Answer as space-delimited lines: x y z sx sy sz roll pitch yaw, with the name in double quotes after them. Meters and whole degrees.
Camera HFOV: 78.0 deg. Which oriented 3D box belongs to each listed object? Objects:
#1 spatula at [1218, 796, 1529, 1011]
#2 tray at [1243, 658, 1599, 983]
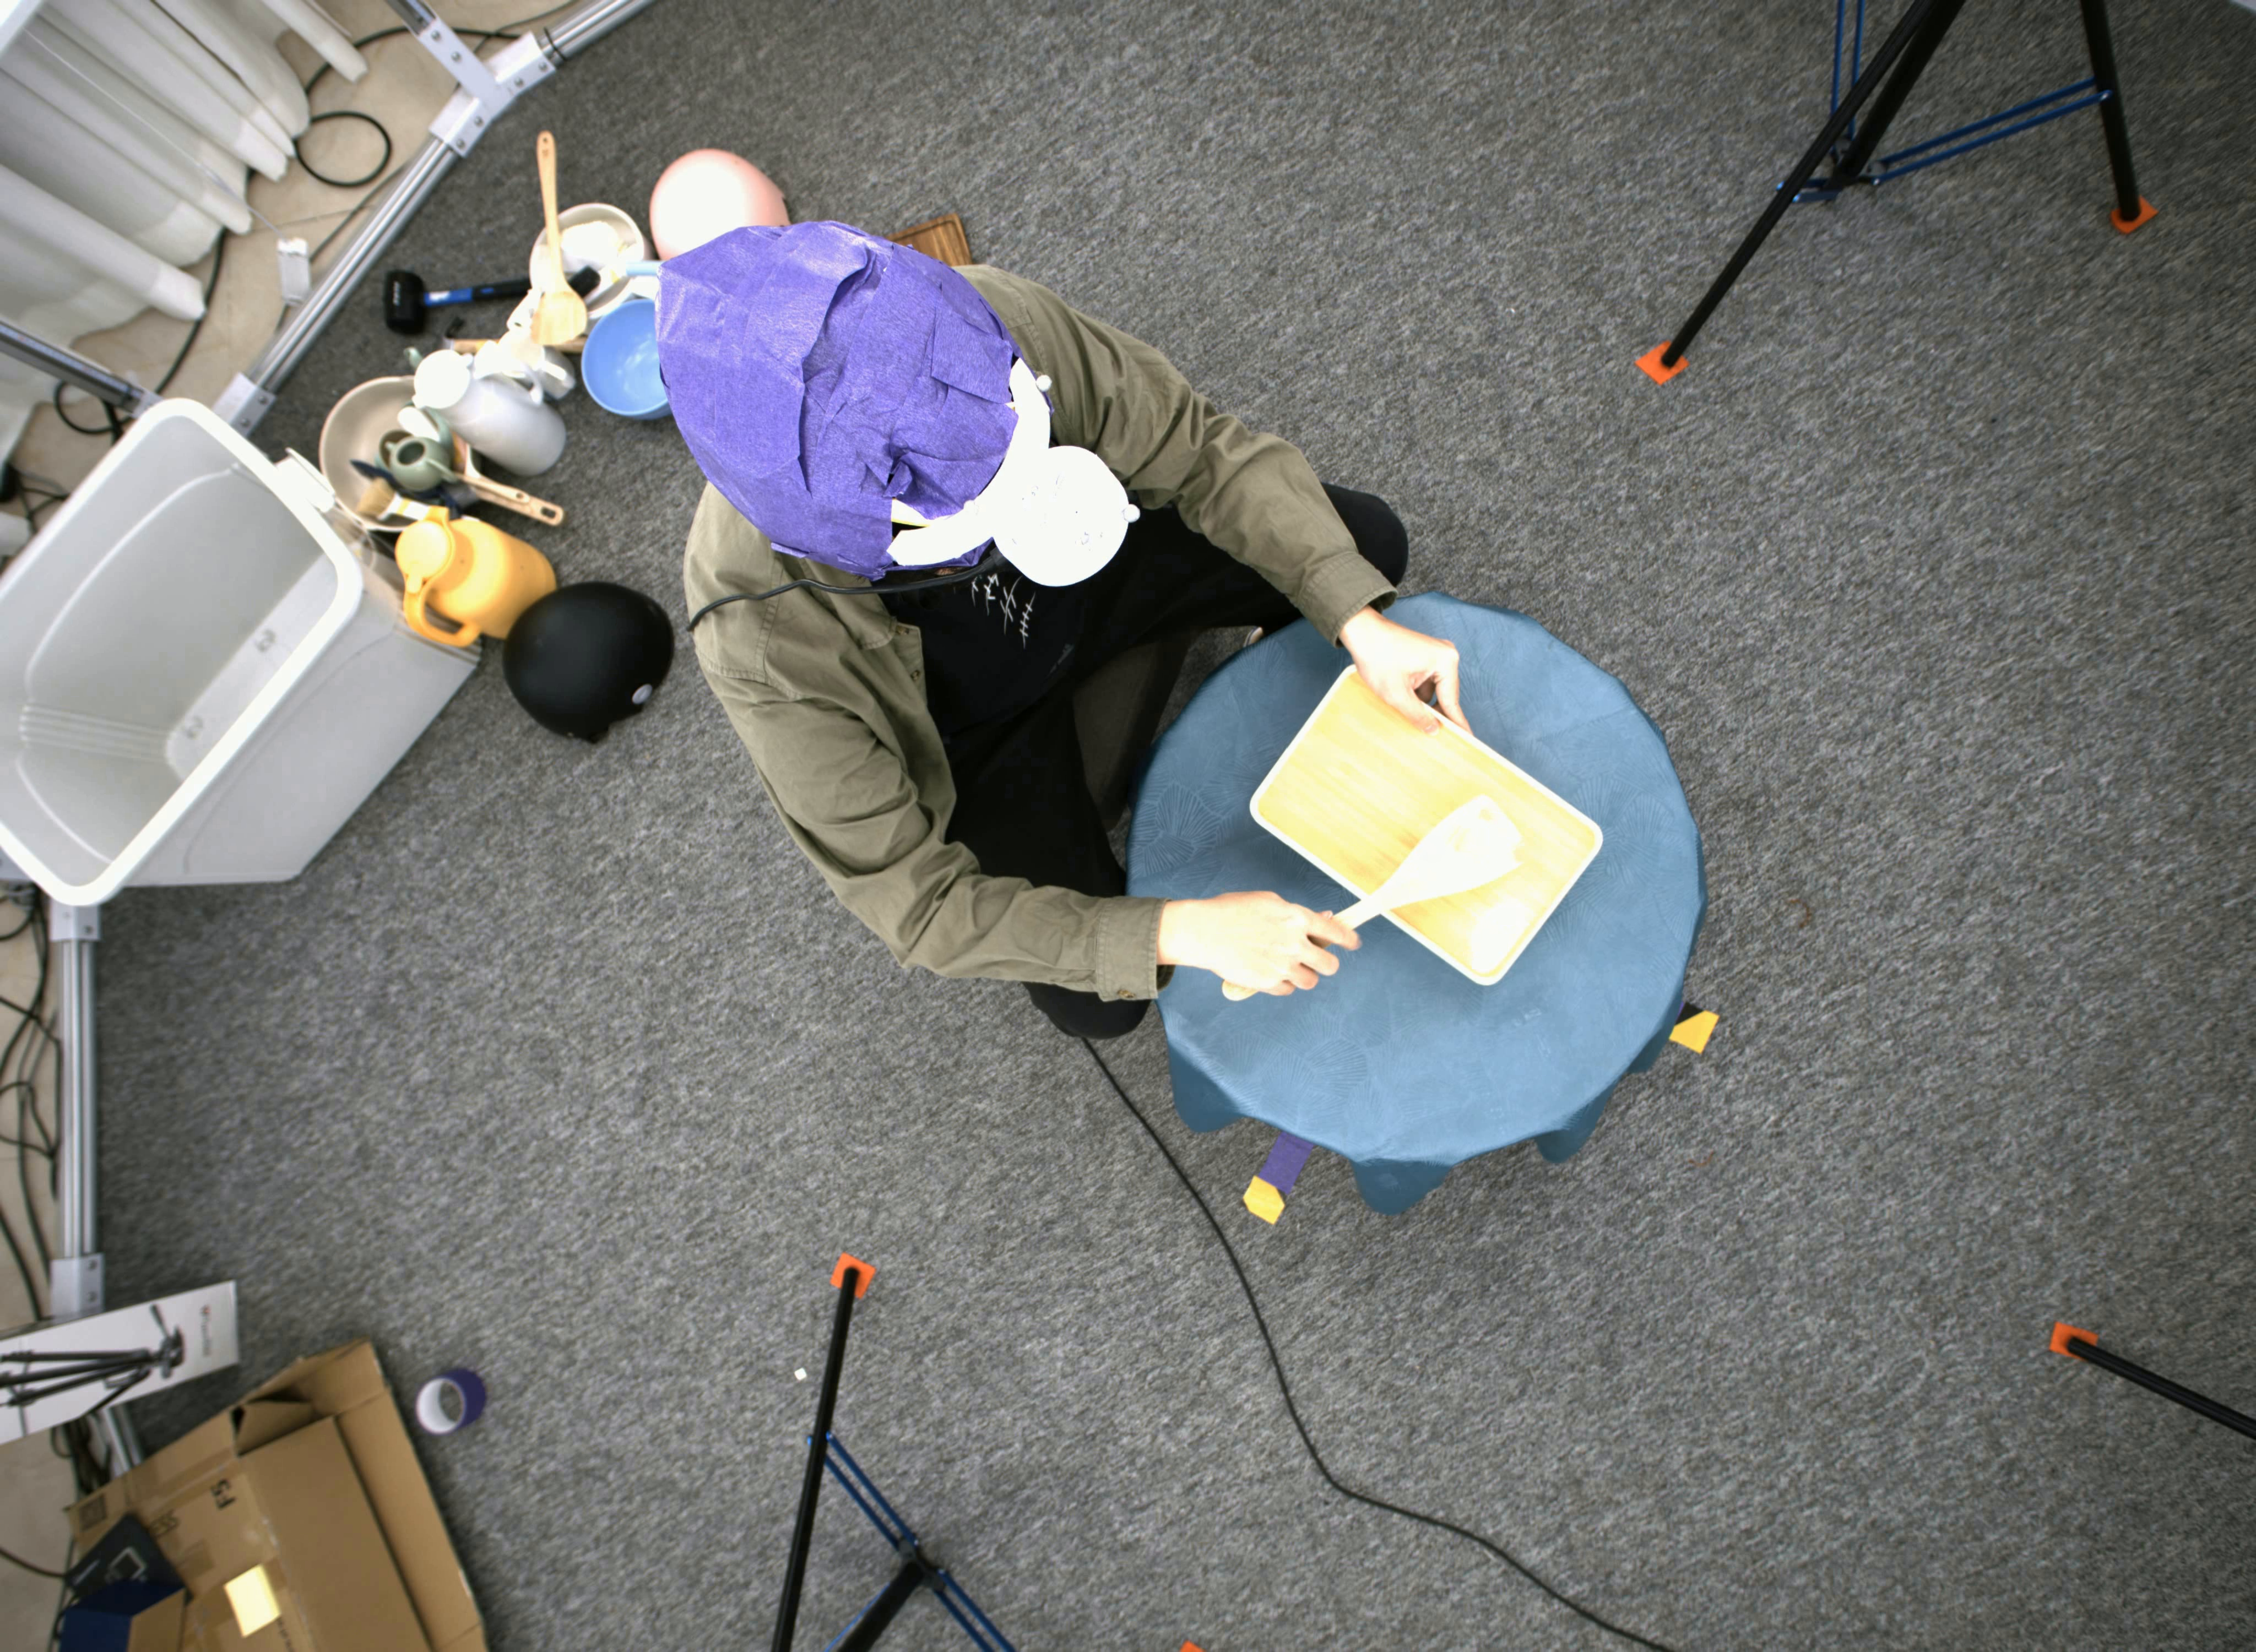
0.221 0.077 1.270 0.326 0.016 0.080 -31 94 -9 "spatula"
0.281 -0.008 1.340 0.299 0.027 0.193 37 100 9 "tray"
